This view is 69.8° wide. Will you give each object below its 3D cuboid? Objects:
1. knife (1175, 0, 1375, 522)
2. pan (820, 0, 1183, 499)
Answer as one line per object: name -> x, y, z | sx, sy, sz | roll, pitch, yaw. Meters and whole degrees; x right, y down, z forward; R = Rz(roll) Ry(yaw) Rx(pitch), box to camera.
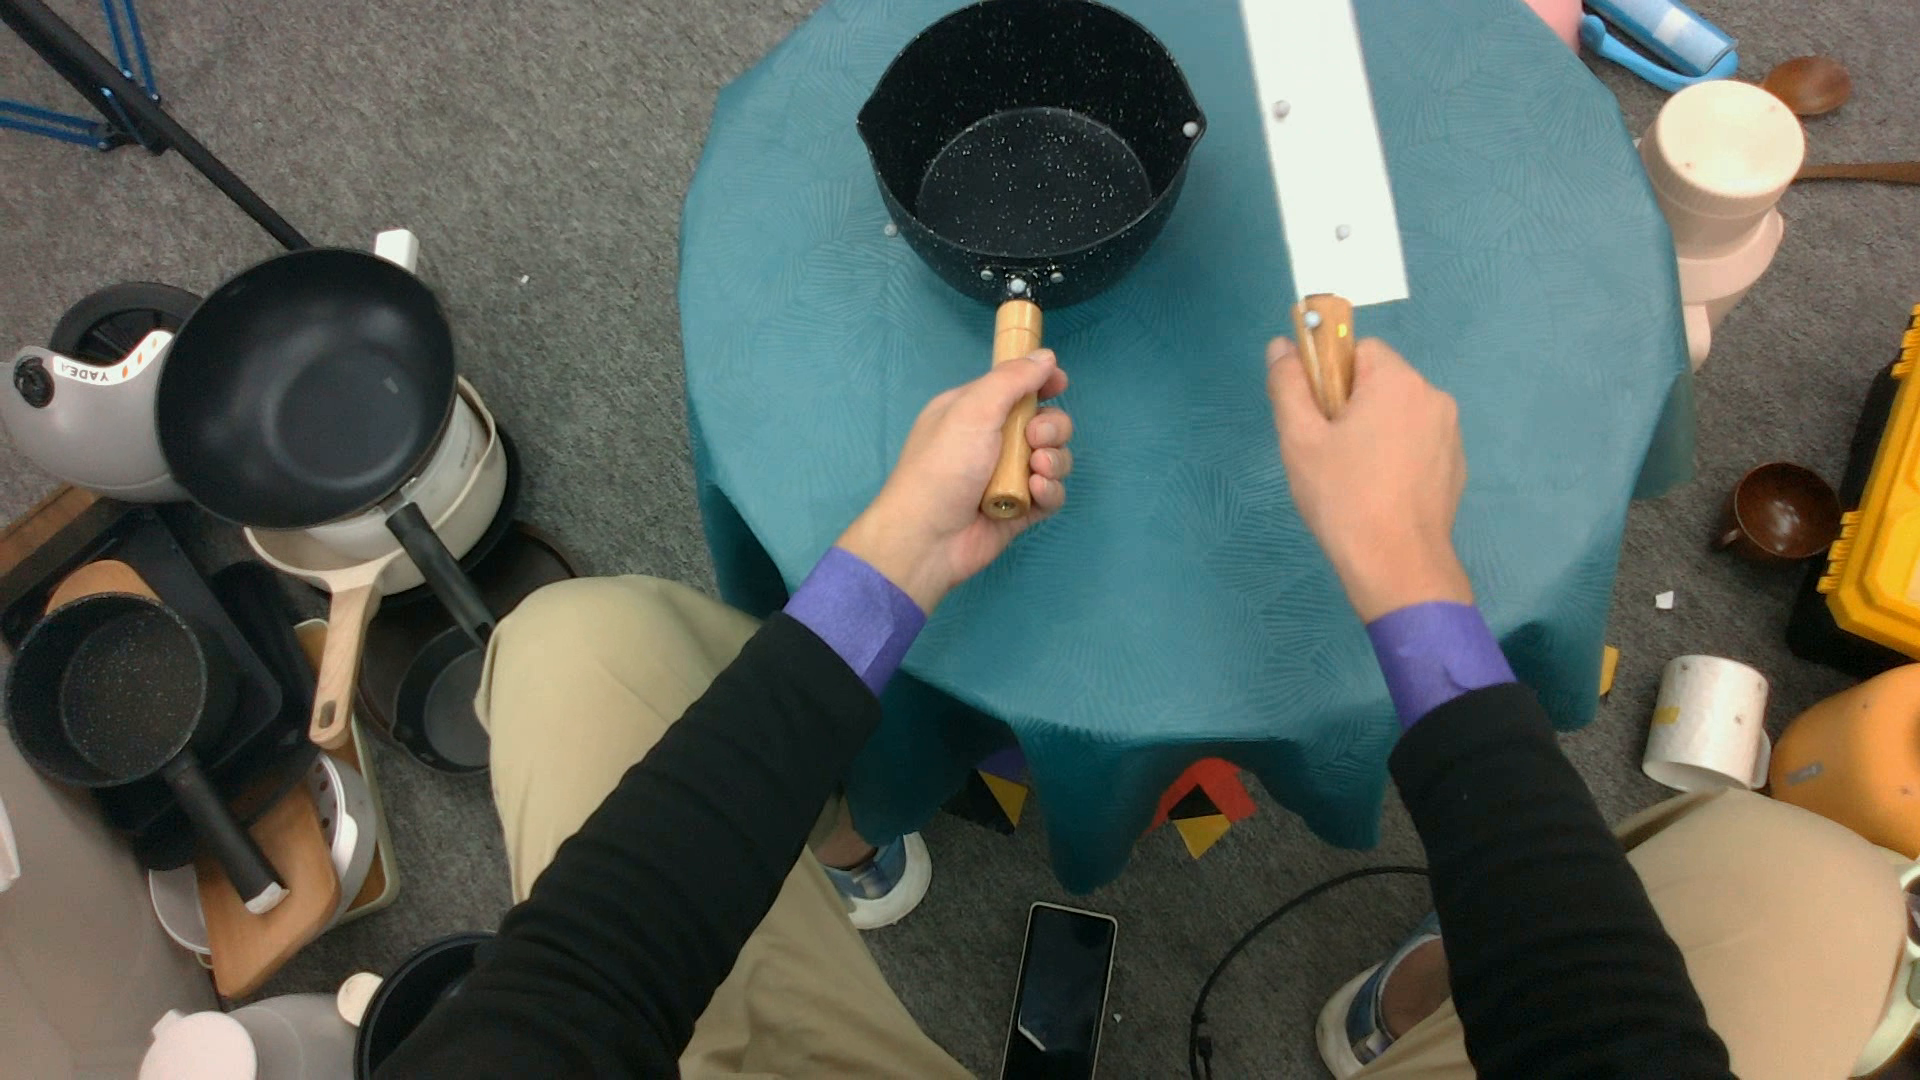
knife -> 0.169, -0.164, 0.701 | 0.093, 0.021, 0.305 | -20, 94, -39
pan -> 0.022, -0.165, 0.780 | 0.207, 0.108, 0.344 | 0, 67, 4
